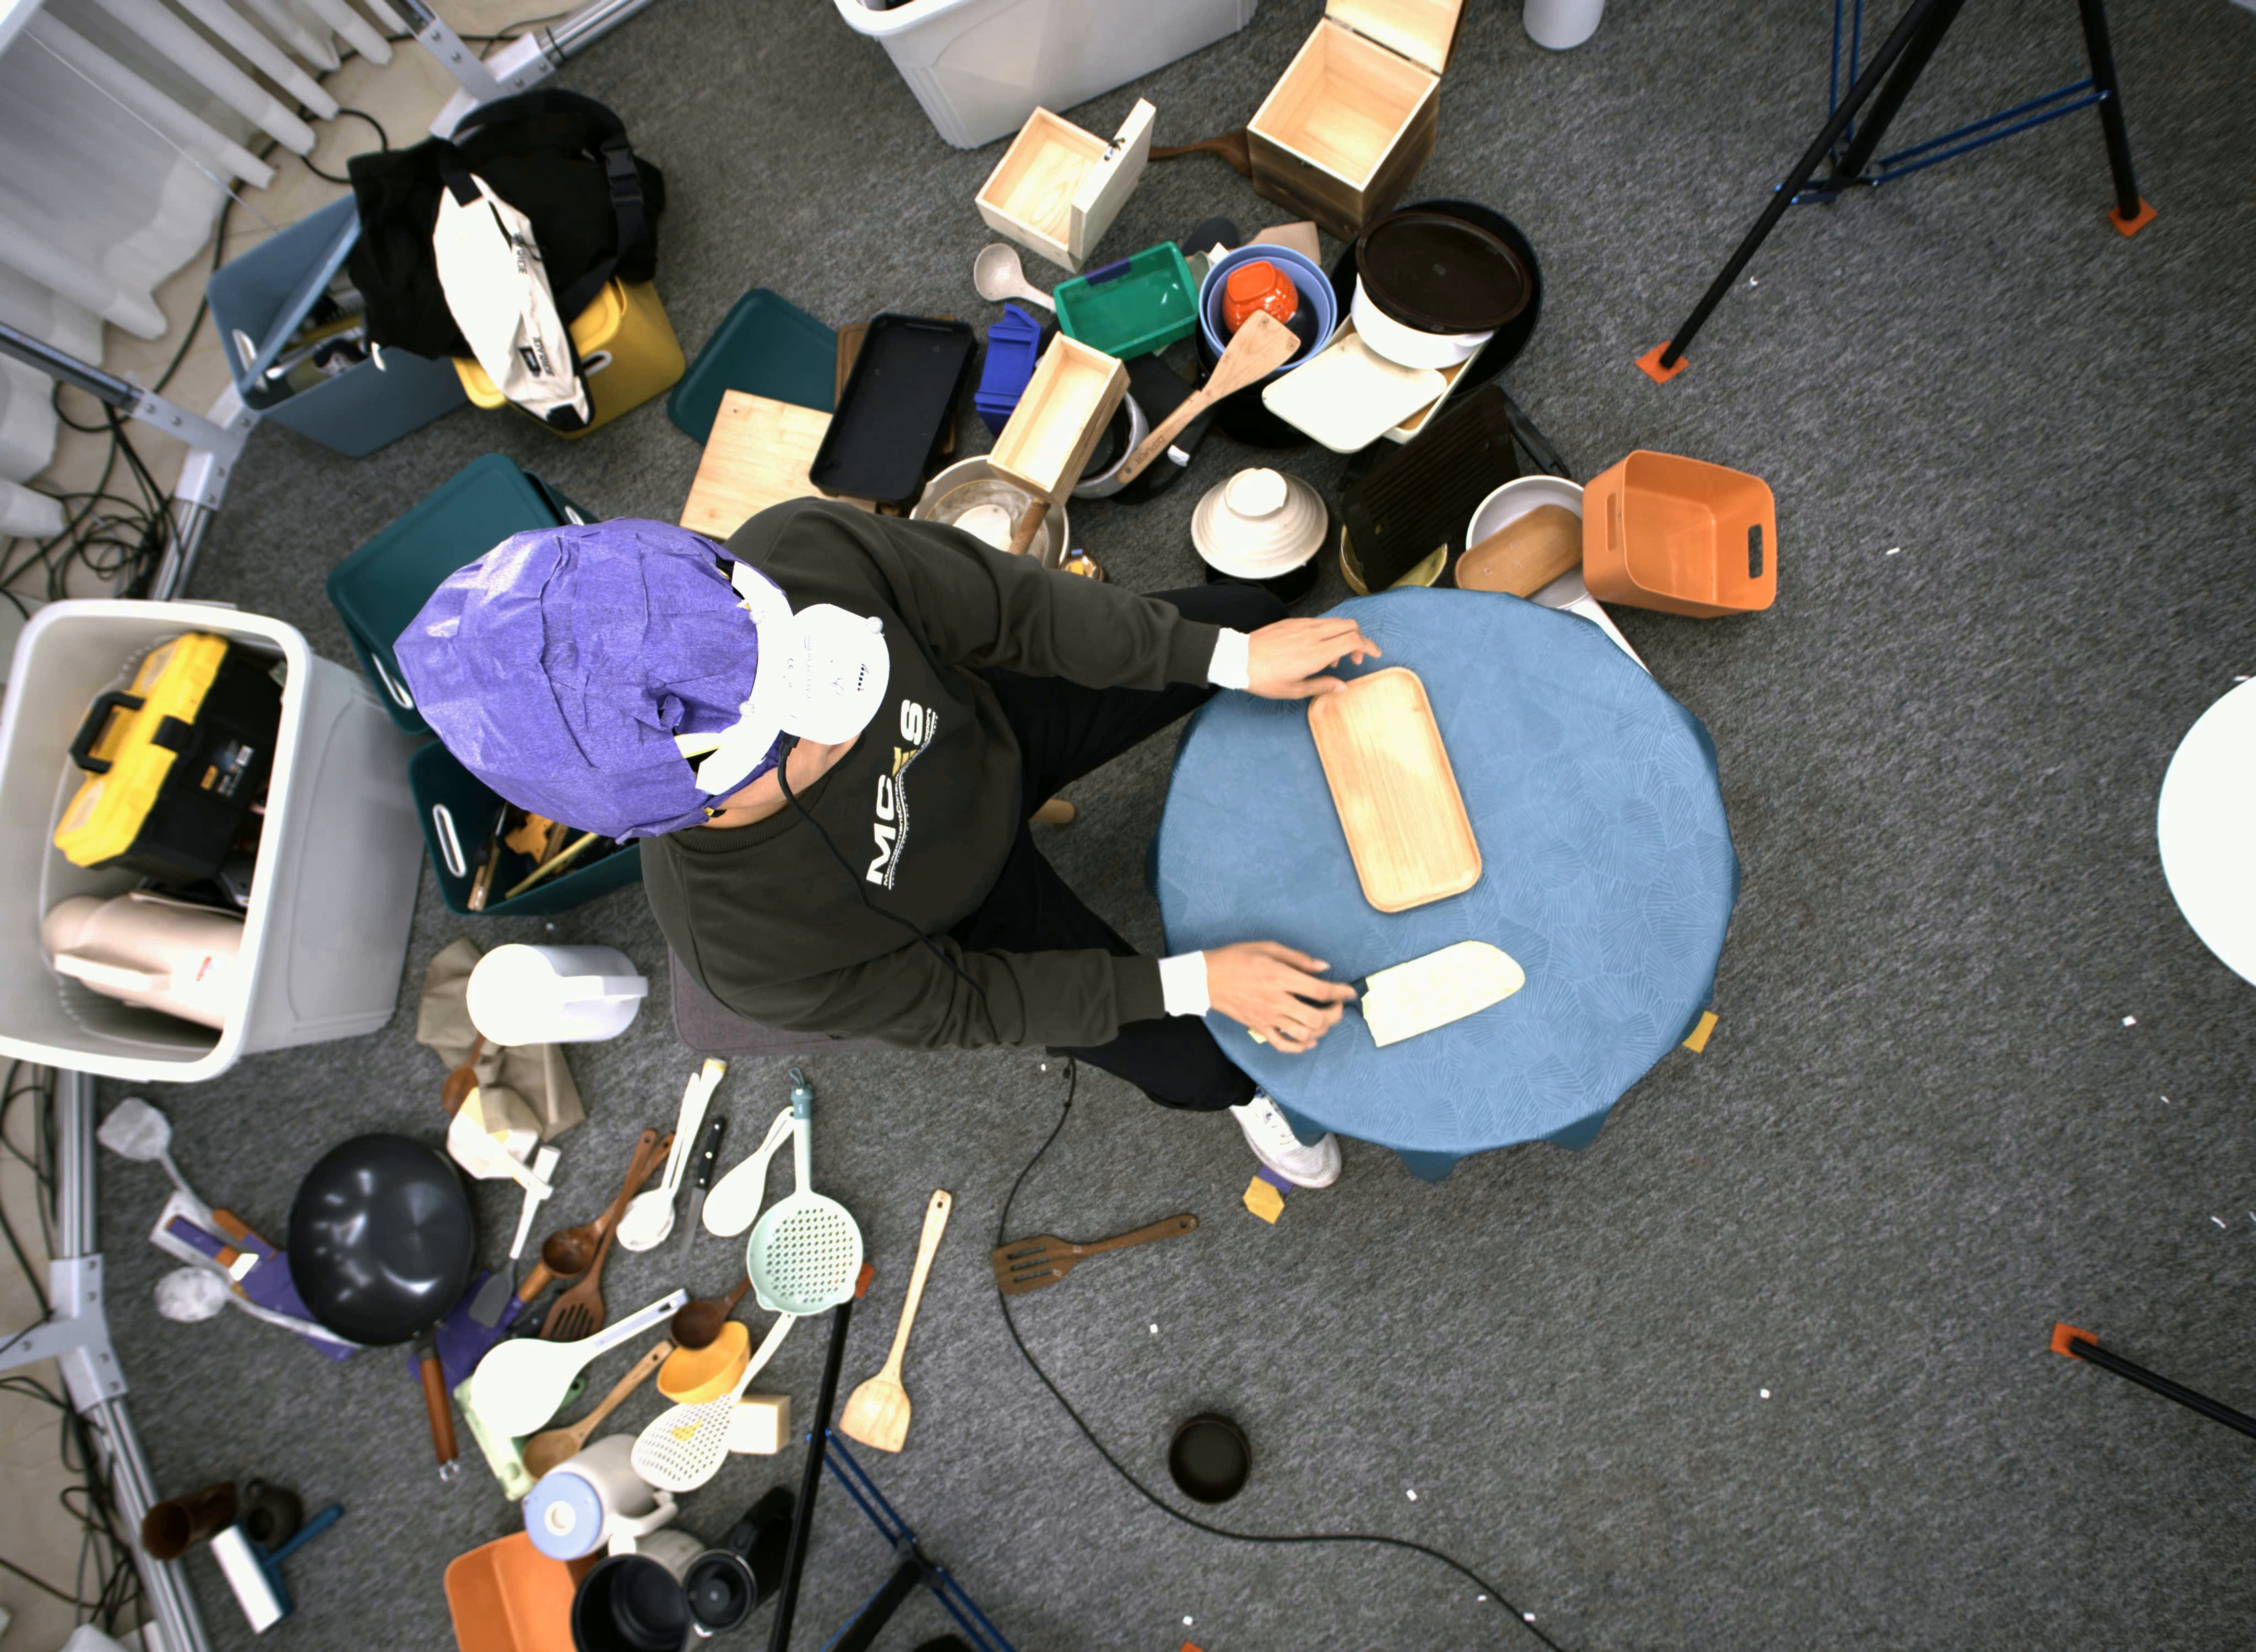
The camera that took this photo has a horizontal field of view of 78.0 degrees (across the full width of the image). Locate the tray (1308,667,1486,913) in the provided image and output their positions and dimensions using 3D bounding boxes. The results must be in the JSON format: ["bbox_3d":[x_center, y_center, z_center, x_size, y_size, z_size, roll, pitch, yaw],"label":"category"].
[{"bbox_3d":[0.283,-0.040,1.456,0.131,0.023,0.249,-18,84,12],"label":"tray"}]

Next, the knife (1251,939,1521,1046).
[{"bbox_3d":[0.270,0.185,1.446,0.291,0.027,0.080,-18,82,8],"label":"knife"}]
